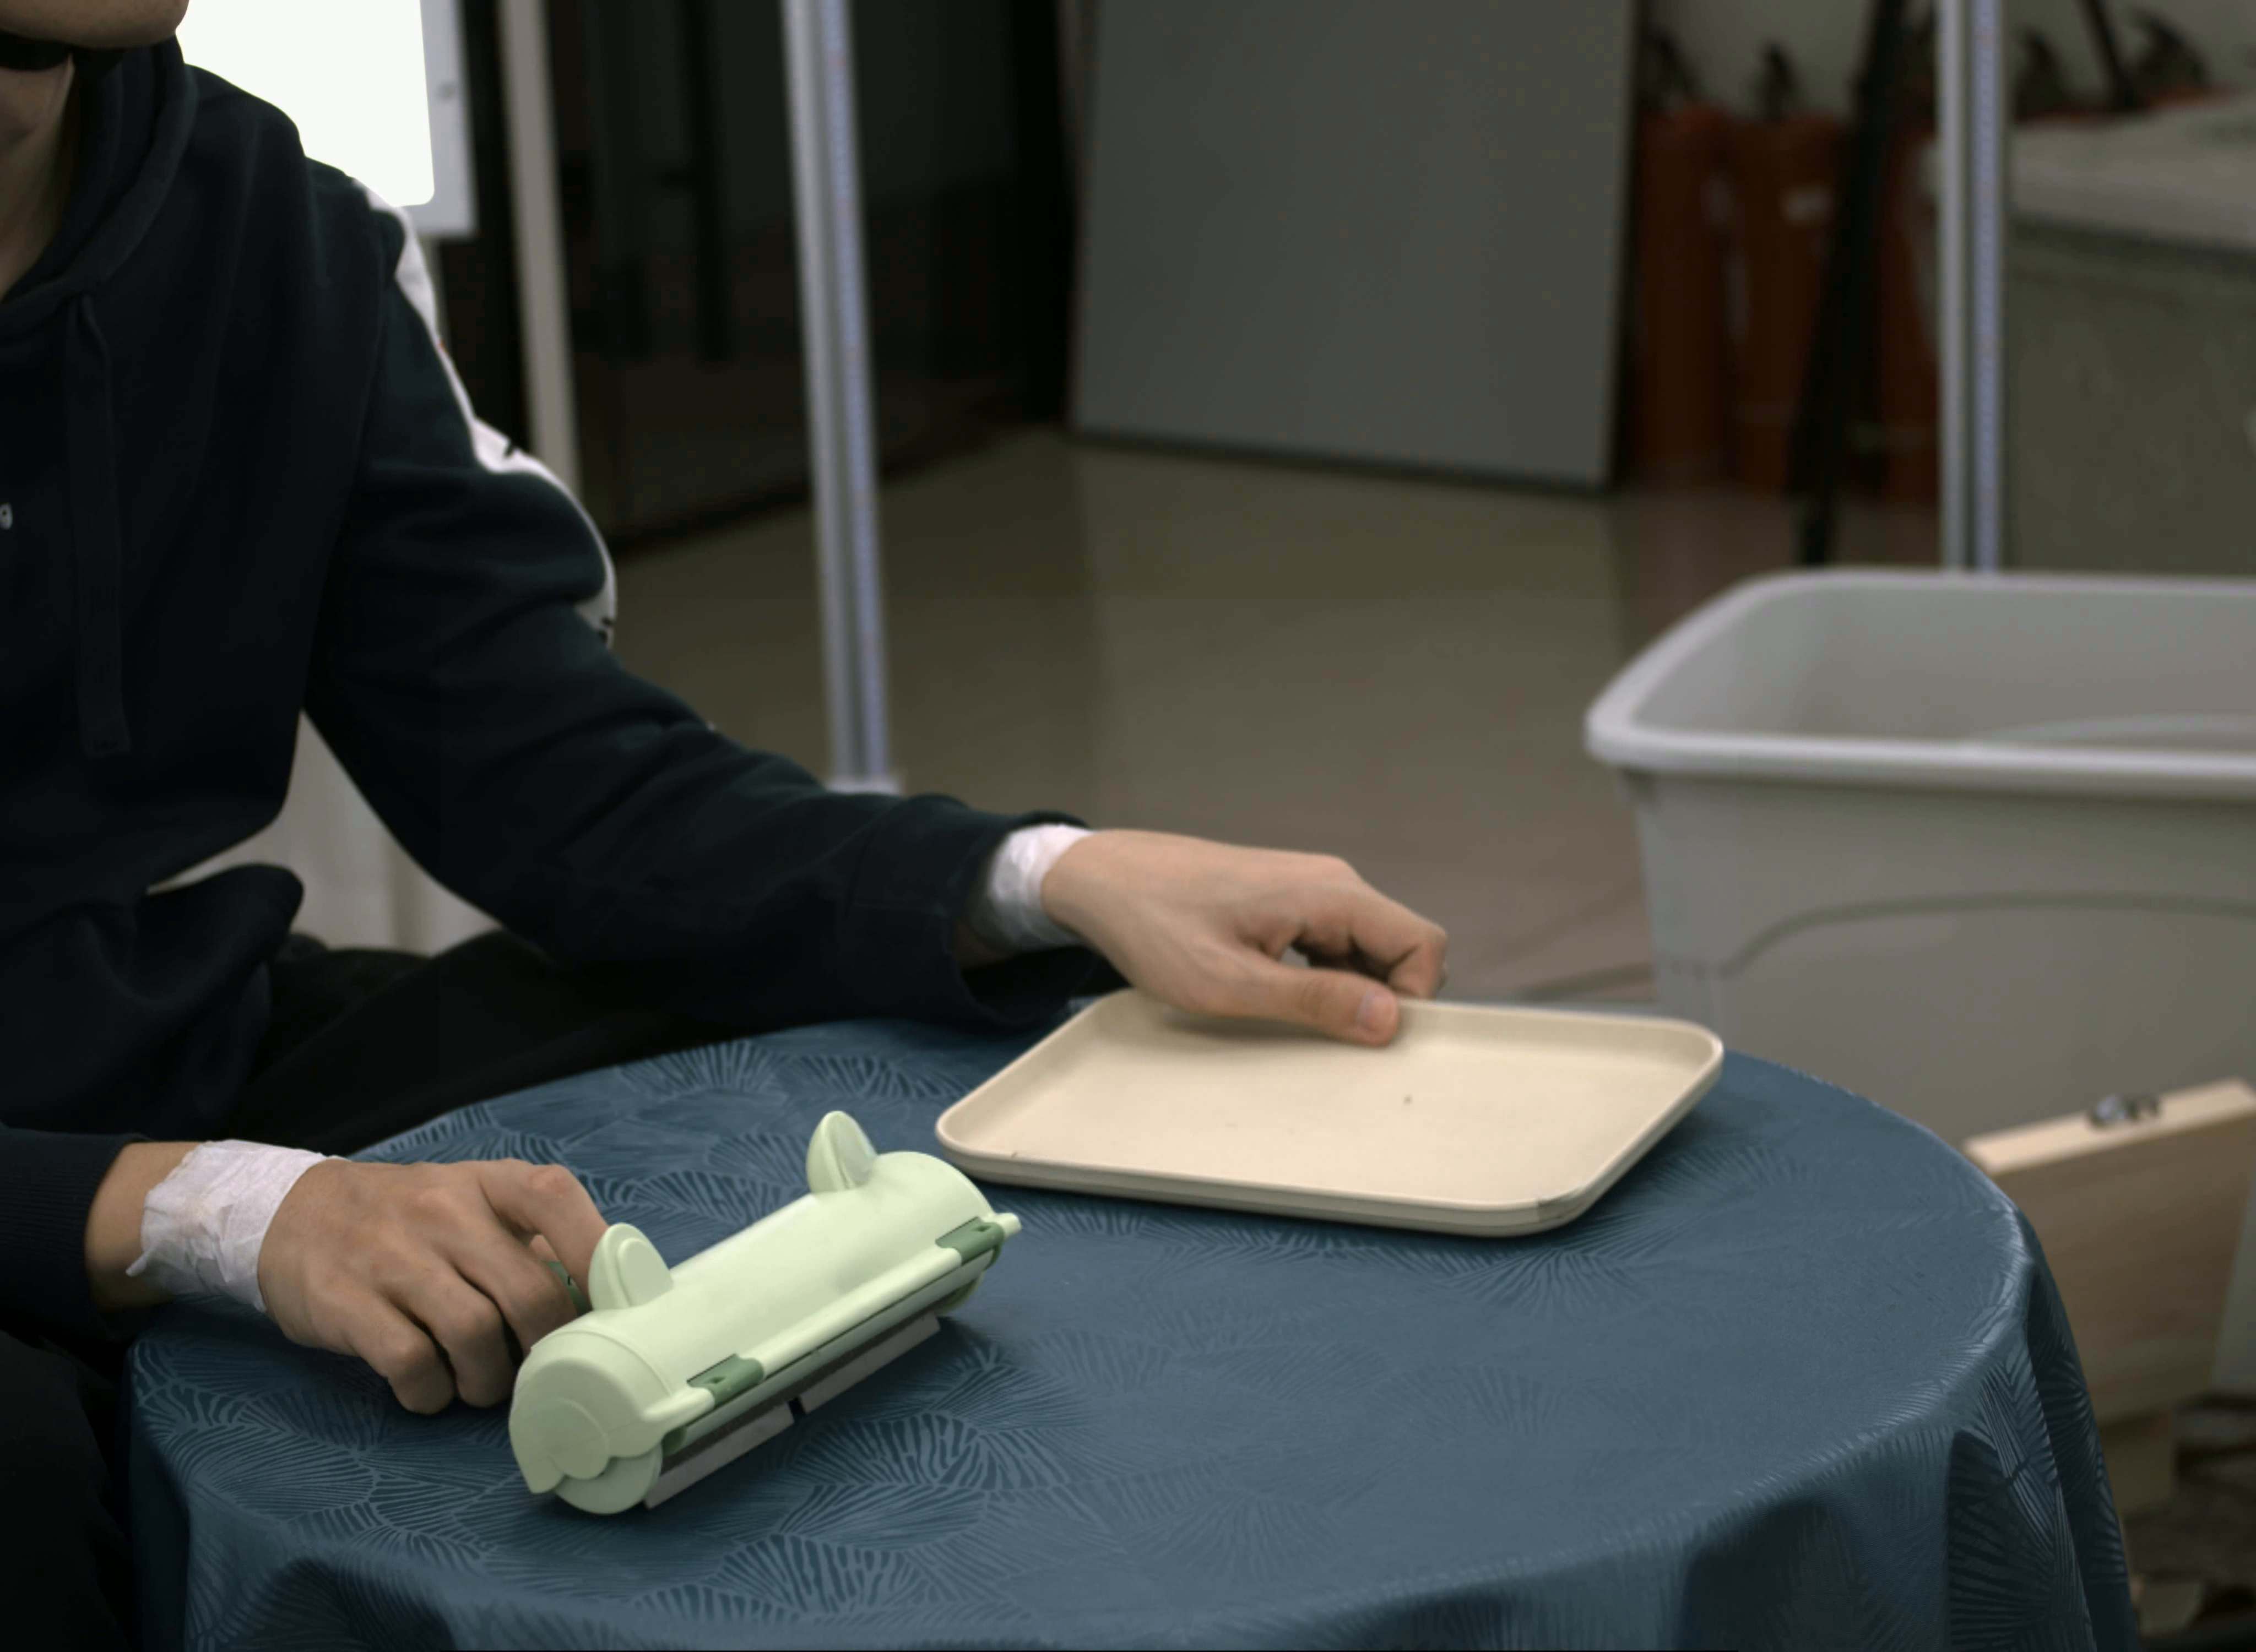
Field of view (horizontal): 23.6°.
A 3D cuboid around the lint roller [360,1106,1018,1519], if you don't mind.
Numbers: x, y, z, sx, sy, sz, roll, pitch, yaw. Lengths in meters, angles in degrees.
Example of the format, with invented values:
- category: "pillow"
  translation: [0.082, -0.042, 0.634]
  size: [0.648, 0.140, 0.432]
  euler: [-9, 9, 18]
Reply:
- category: "lint roller"
  translation: [-0.155, 0.132, 1.608]
  size: [0.184, 0.083, 0.195]
  euler: [9, 18, 29]

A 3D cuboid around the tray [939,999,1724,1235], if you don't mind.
- category: "tray"
  translation: [0.069, 0.097, 1.800]
  size: [0.240, 0.017, 0.169]
  euler: [3, 17, 28]
